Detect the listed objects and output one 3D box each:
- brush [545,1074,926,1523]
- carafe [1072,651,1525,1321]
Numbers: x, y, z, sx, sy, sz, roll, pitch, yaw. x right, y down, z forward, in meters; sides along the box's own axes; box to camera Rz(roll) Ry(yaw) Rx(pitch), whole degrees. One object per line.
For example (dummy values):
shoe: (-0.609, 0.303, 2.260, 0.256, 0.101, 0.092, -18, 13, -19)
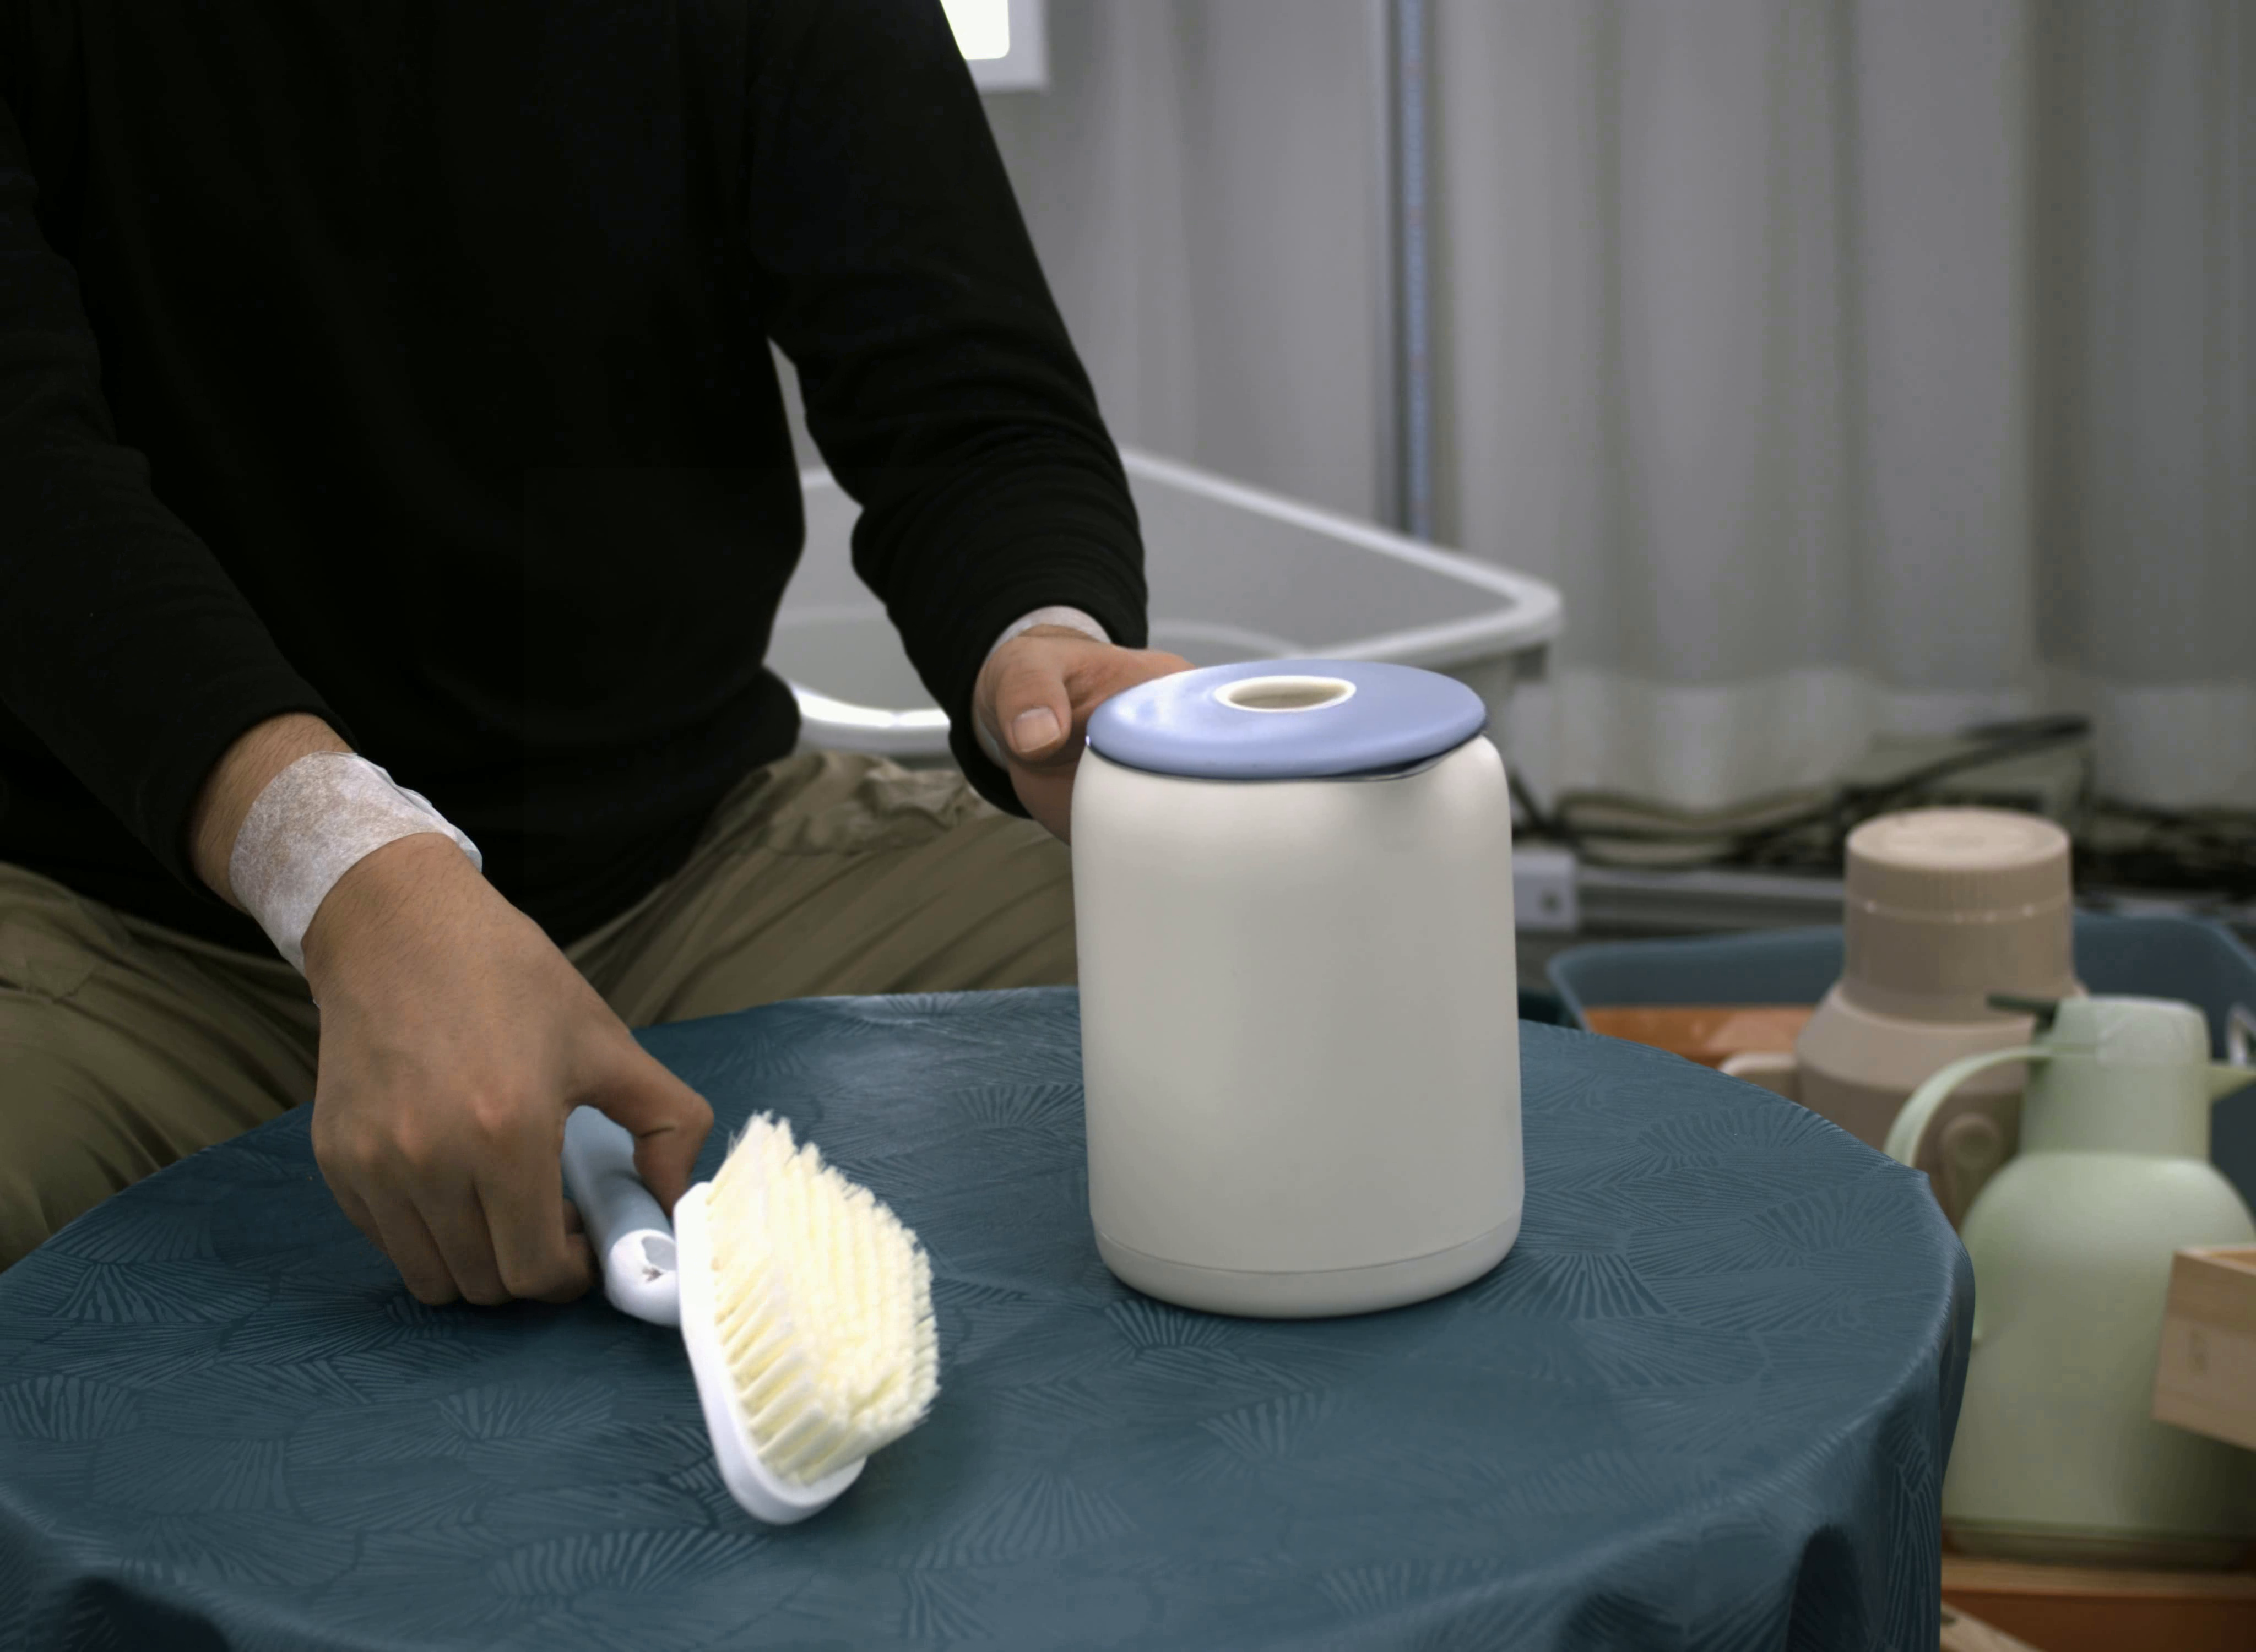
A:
brush: (-0.115, 0.107, 1.596, 0.084, 0.082, 0.328, -11, 18, -10)
carafe: (0.039, 0.041, 1.650, 0.131, 0.182, 0.192, -10, 15, -28)
